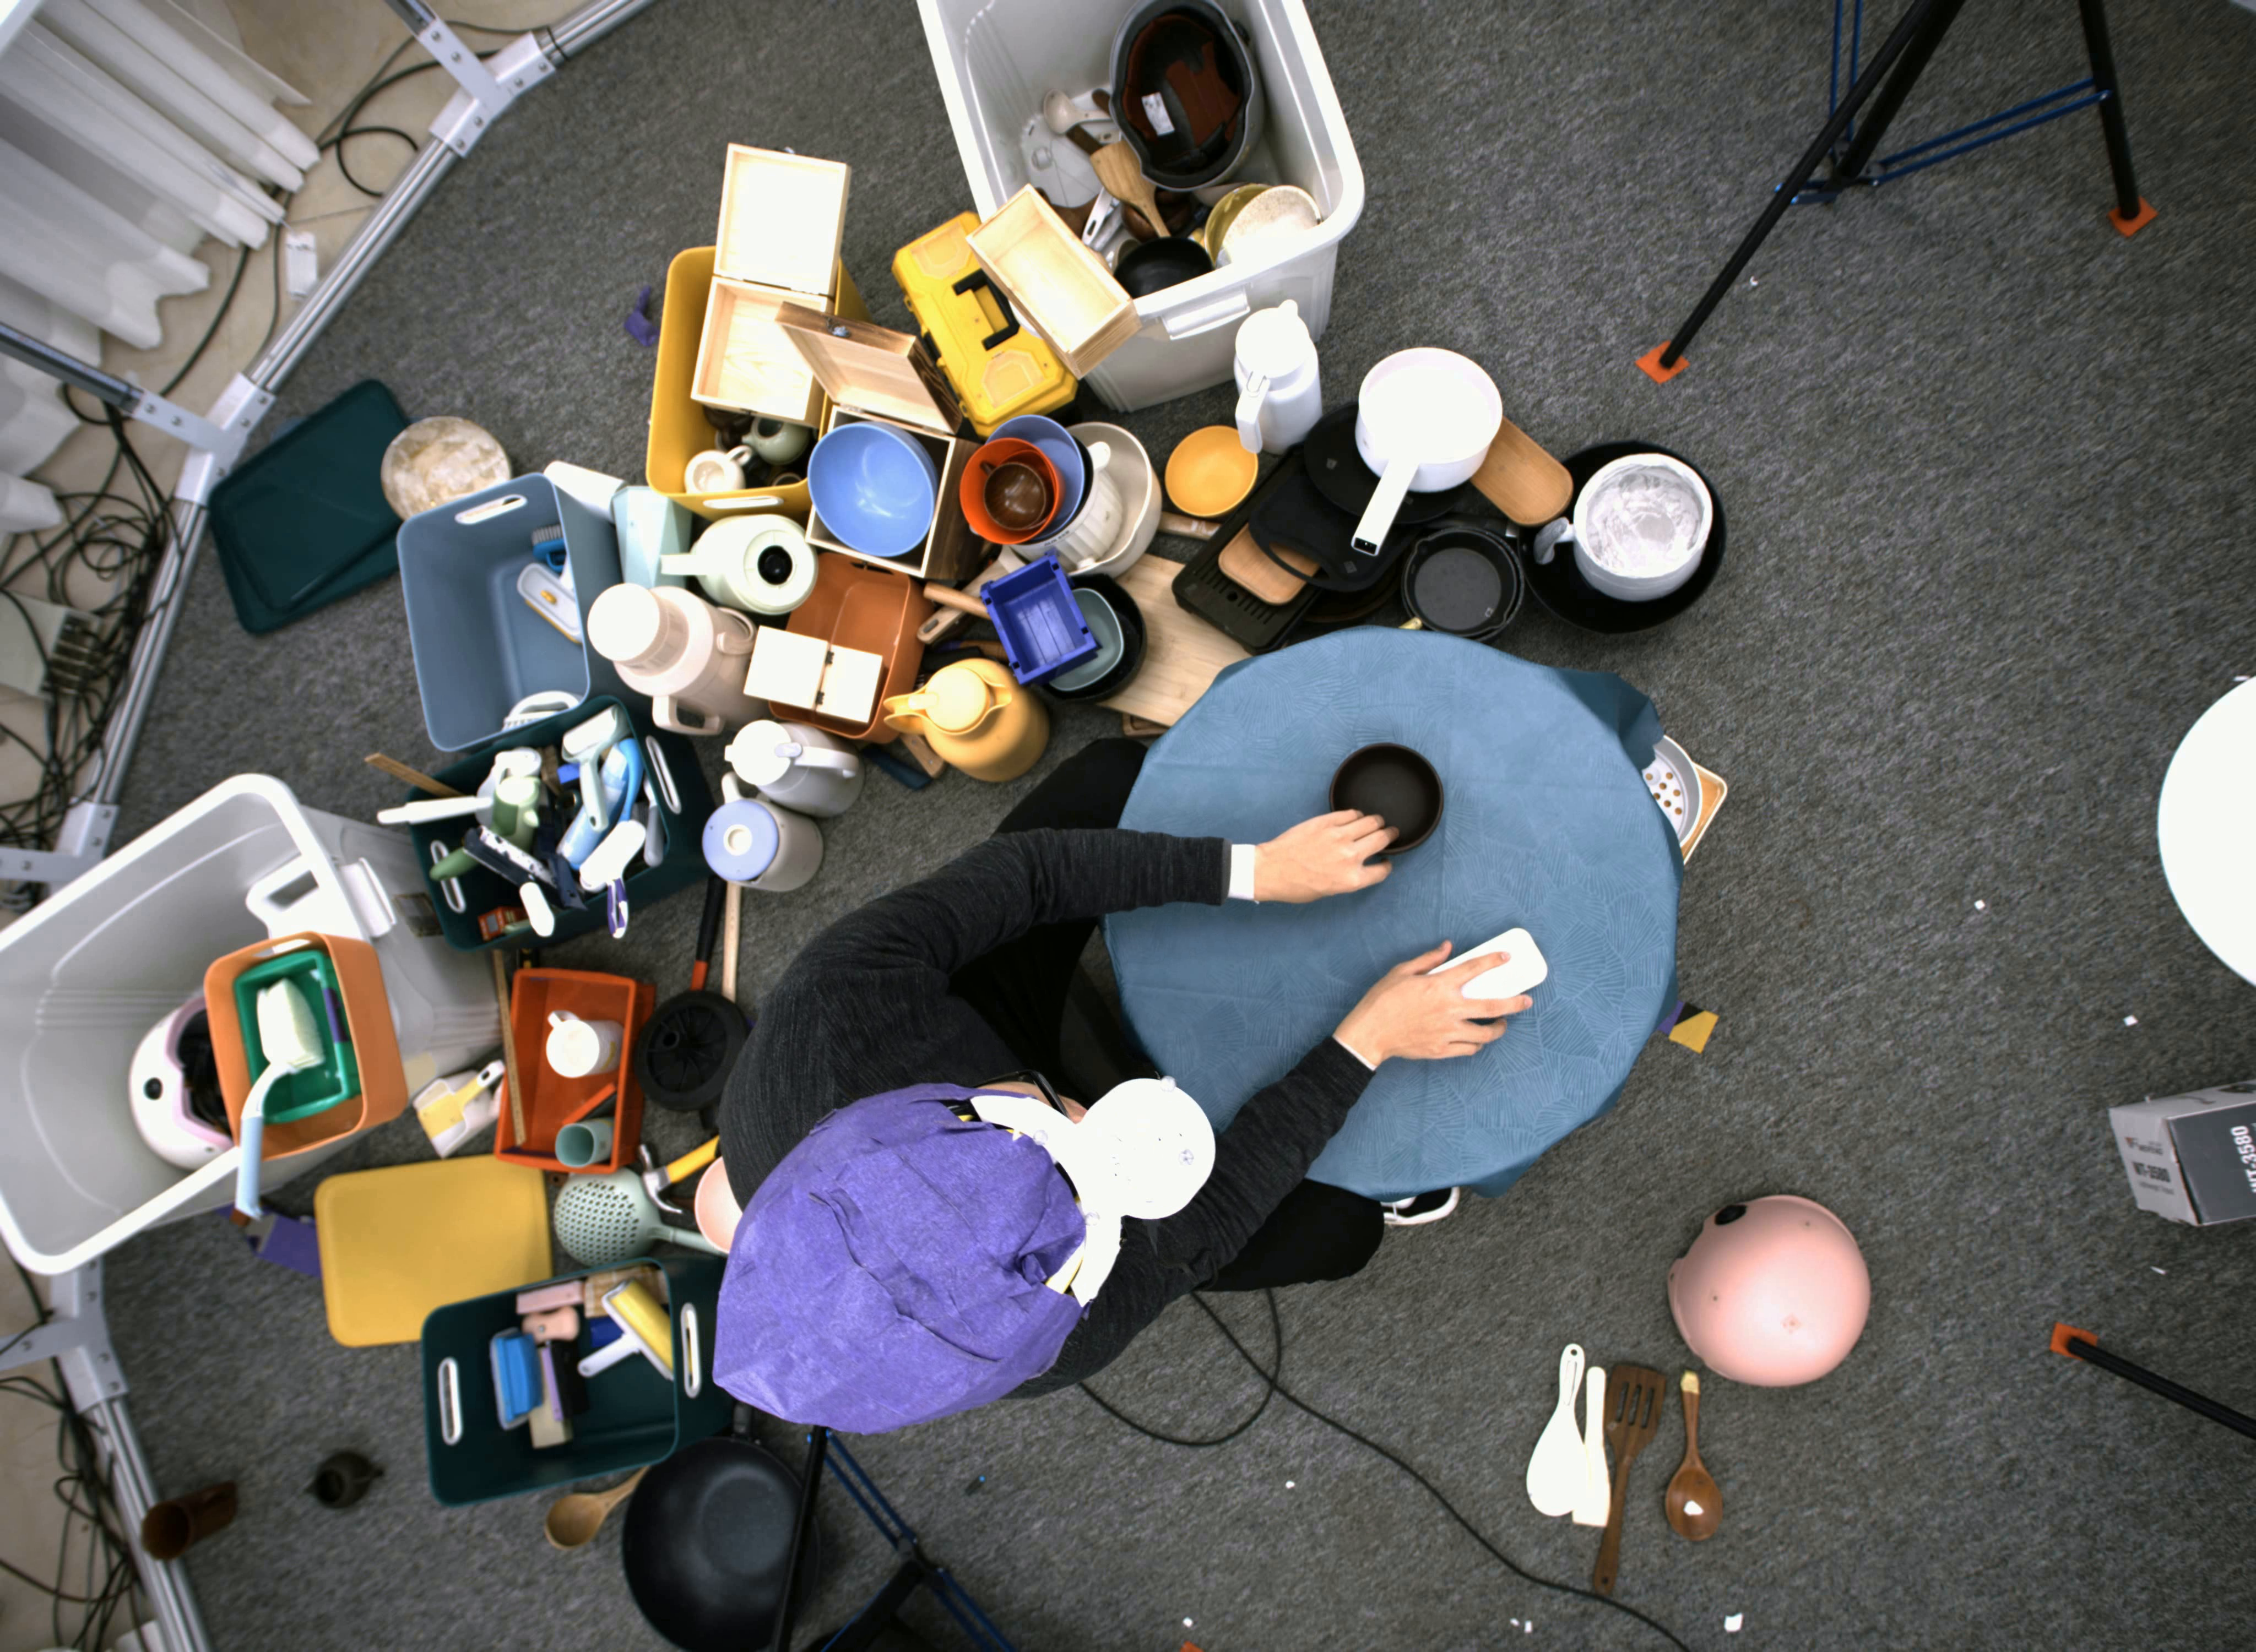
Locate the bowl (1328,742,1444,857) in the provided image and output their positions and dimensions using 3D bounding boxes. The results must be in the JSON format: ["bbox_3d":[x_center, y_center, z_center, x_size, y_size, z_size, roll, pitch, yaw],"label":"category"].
[{"bbox_3d":[0.267,-0.027,1.430,0.118,0.070,0.117,-1,87,11],"label":"bowl"}]

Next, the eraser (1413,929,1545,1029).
[{"bbox_3d":[0.361,0.155,1.423,0.132,0.034,0.063,-28,81,8],"label":"eraser"}]
